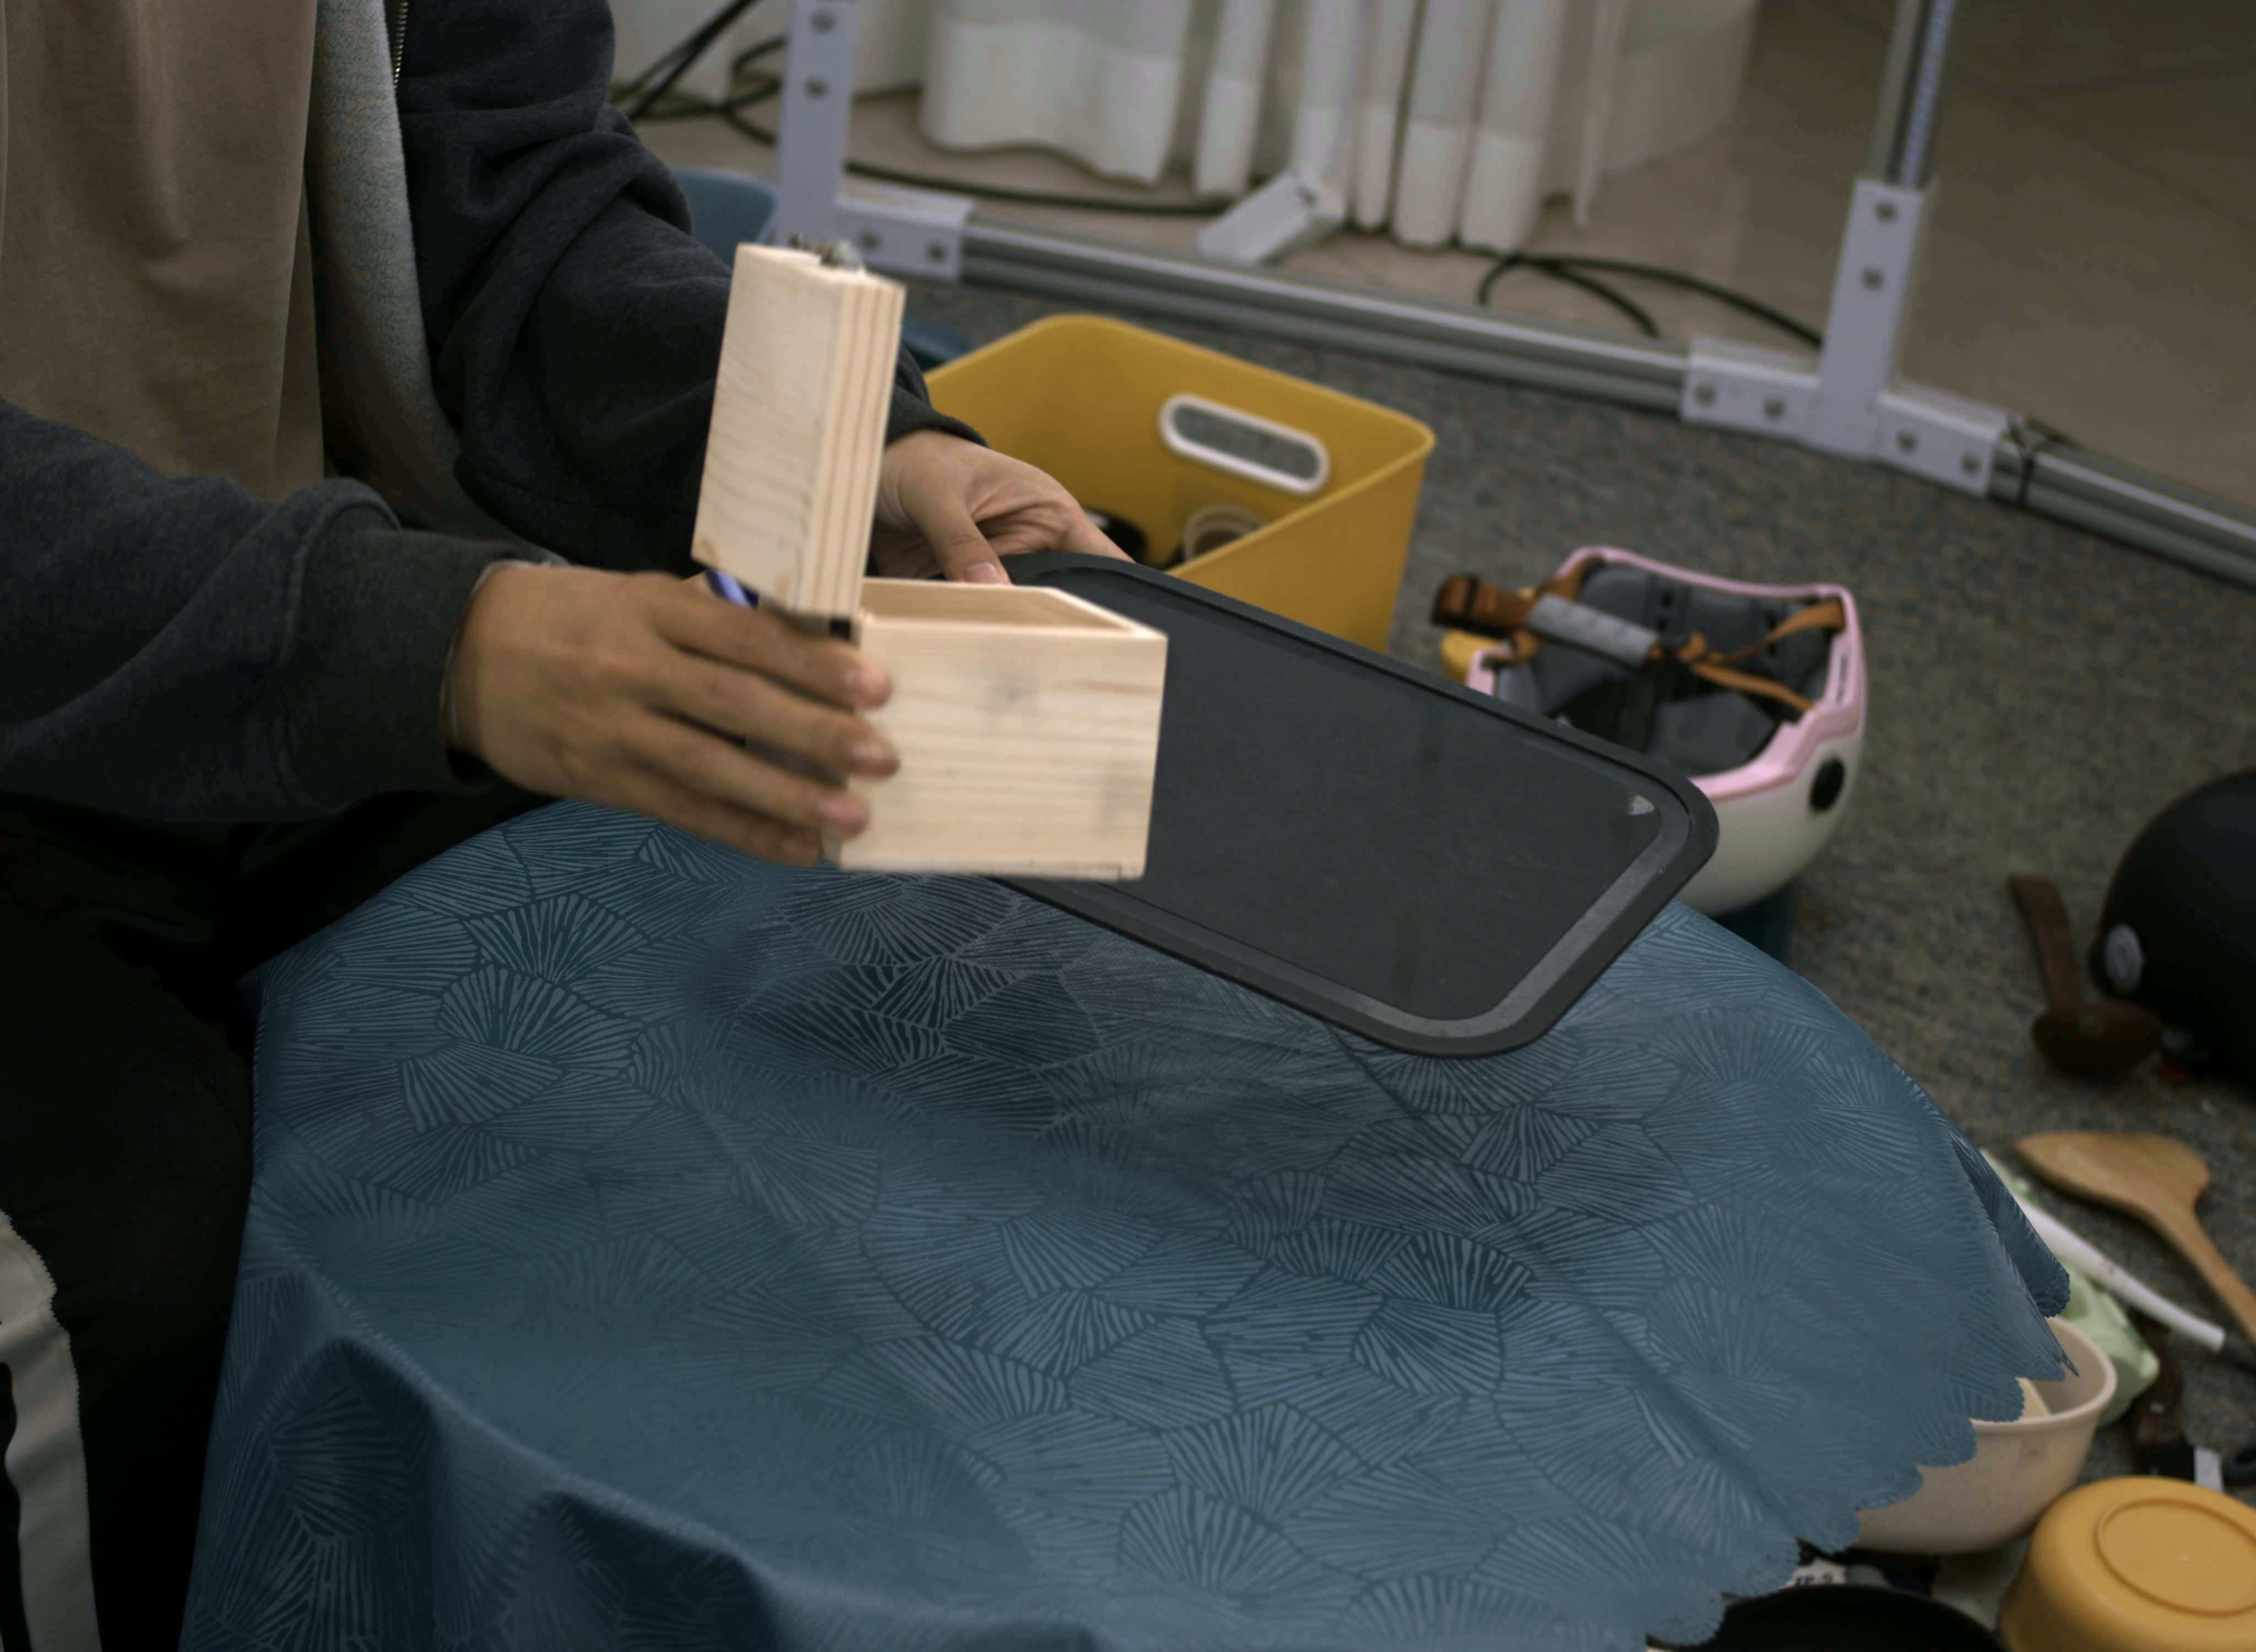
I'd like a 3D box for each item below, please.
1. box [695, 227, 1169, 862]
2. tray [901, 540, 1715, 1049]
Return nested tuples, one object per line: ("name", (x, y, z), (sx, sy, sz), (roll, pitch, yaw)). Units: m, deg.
("box", (-0.058, -0.089, 1.659), (0.133, 0.184, 0.103), (2, 9, -22))
("tray", (0.032, -0.020, 1.875), (0.327, 0.010, 0.211), (23, 38, 23))
